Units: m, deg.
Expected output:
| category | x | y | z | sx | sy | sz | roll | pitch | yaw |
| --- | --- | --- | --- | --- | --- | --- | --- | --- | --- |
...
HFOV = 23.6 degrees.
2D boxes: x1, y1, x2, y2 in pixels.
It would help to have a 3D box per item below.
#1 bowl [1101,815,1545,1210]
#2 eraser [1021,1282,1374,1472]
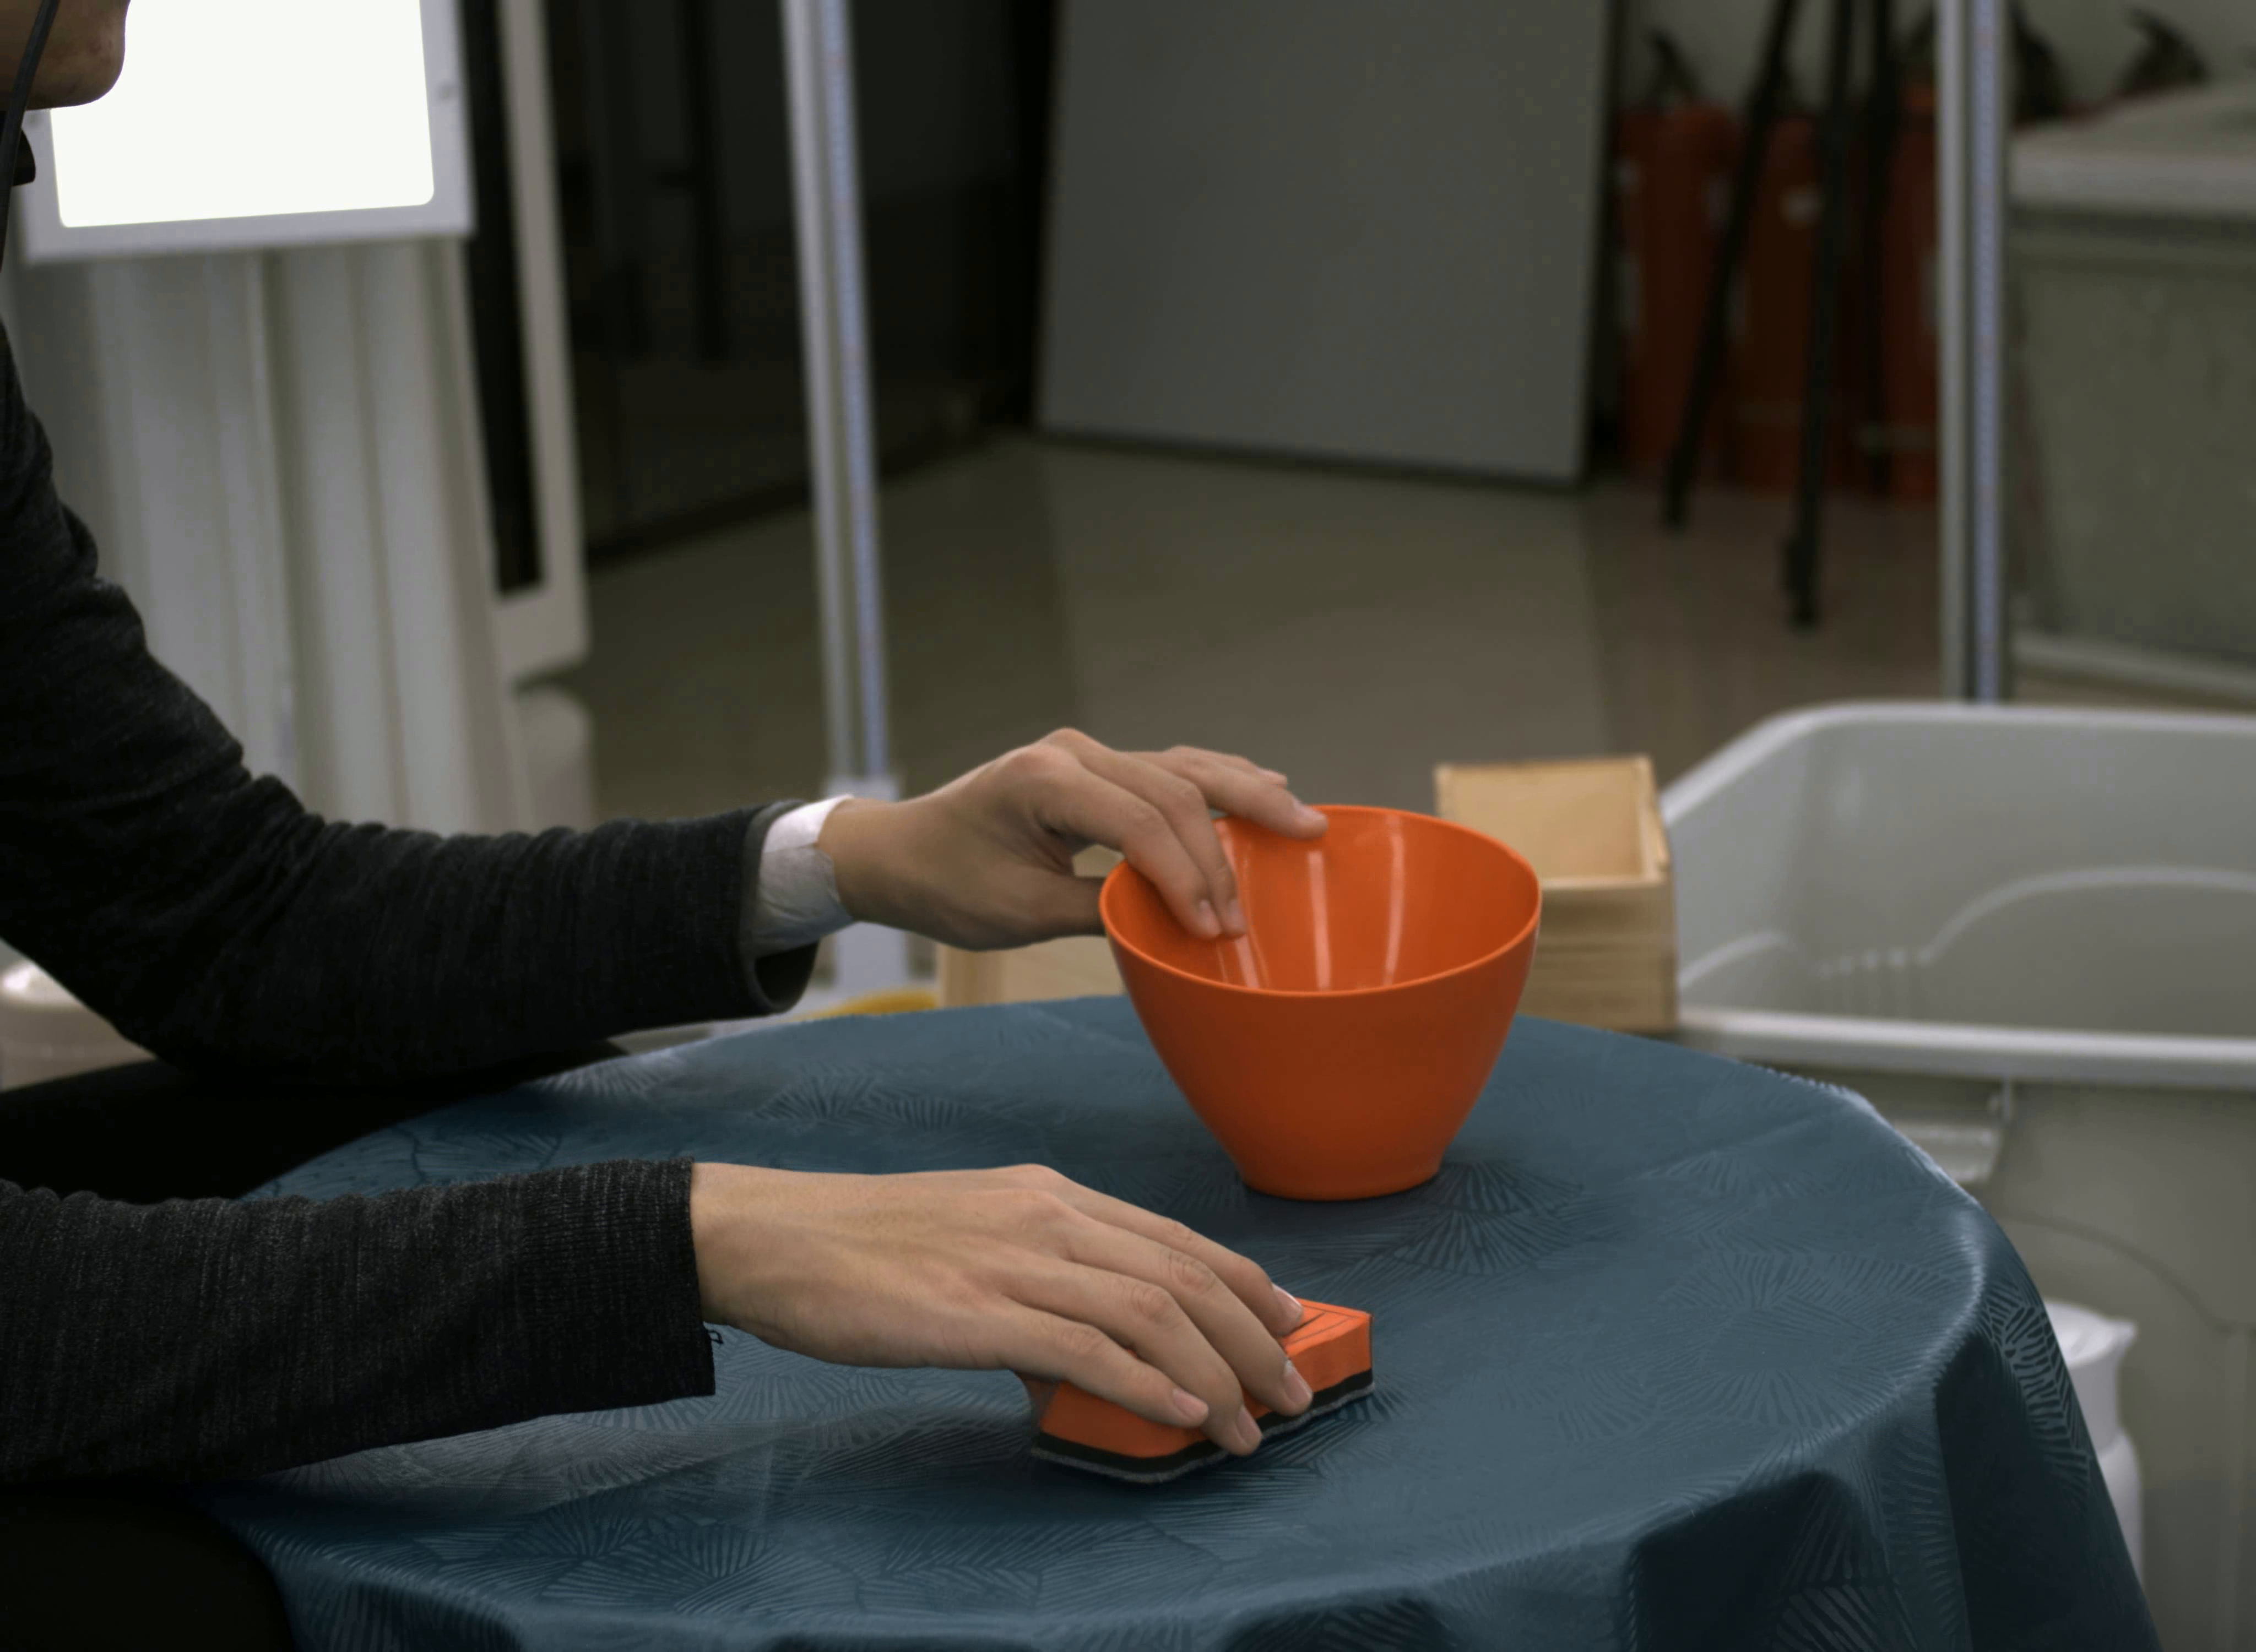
| category | x | y | z | sx | sy | sz | roll | pitch | yaw |
| --- | --- | --- | --- | --- | --- | --- | --- | --- | --- |
| bowl | 0.066 | 0.064 | 1.772 | 0.146 | 0.106 | 0.148 | -4 | 13 | 0 |
| eraser | 0.021 | 0.157 | 1.547 | 0.059 | 0.023 | 0.106 | 9 | 16 | 39 |
